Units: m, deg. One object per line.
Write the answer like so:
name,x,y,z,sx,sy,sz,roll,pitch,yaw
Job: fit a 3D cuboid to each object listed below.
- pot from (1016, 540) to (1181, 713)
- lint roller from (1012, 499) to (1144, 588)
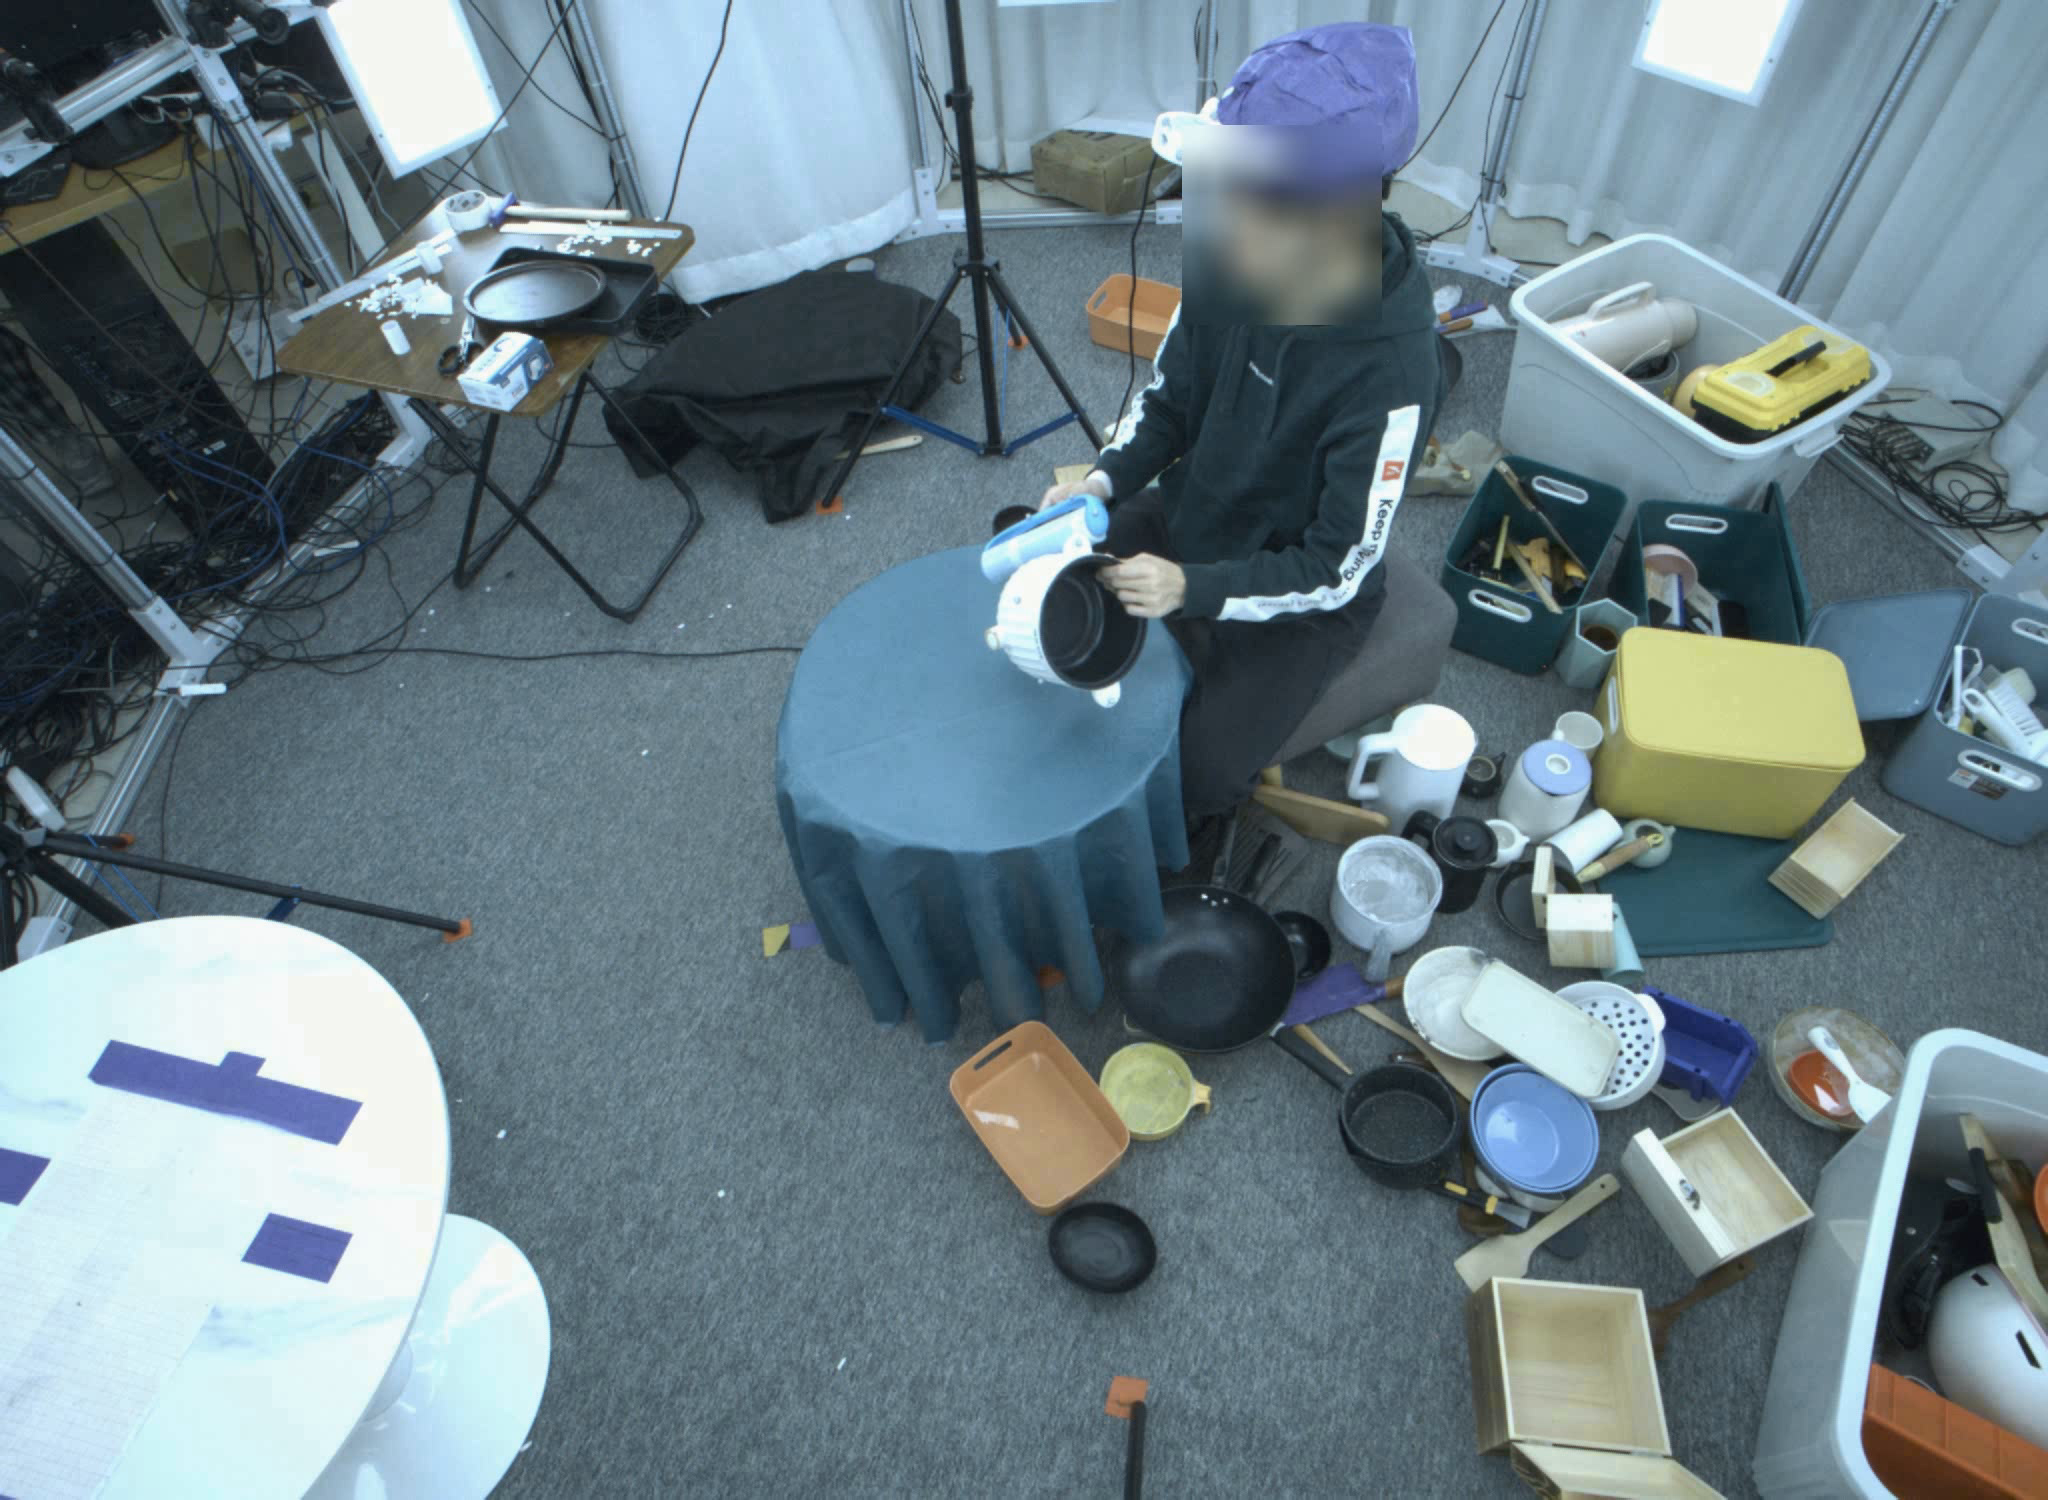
pot,0.097,-0.169,1.674,0.193,0.243,0.139,-26,23,-31
lint roller,0.096,-0.317,1.772,0.225,0.069,0.181,-19,24,37
